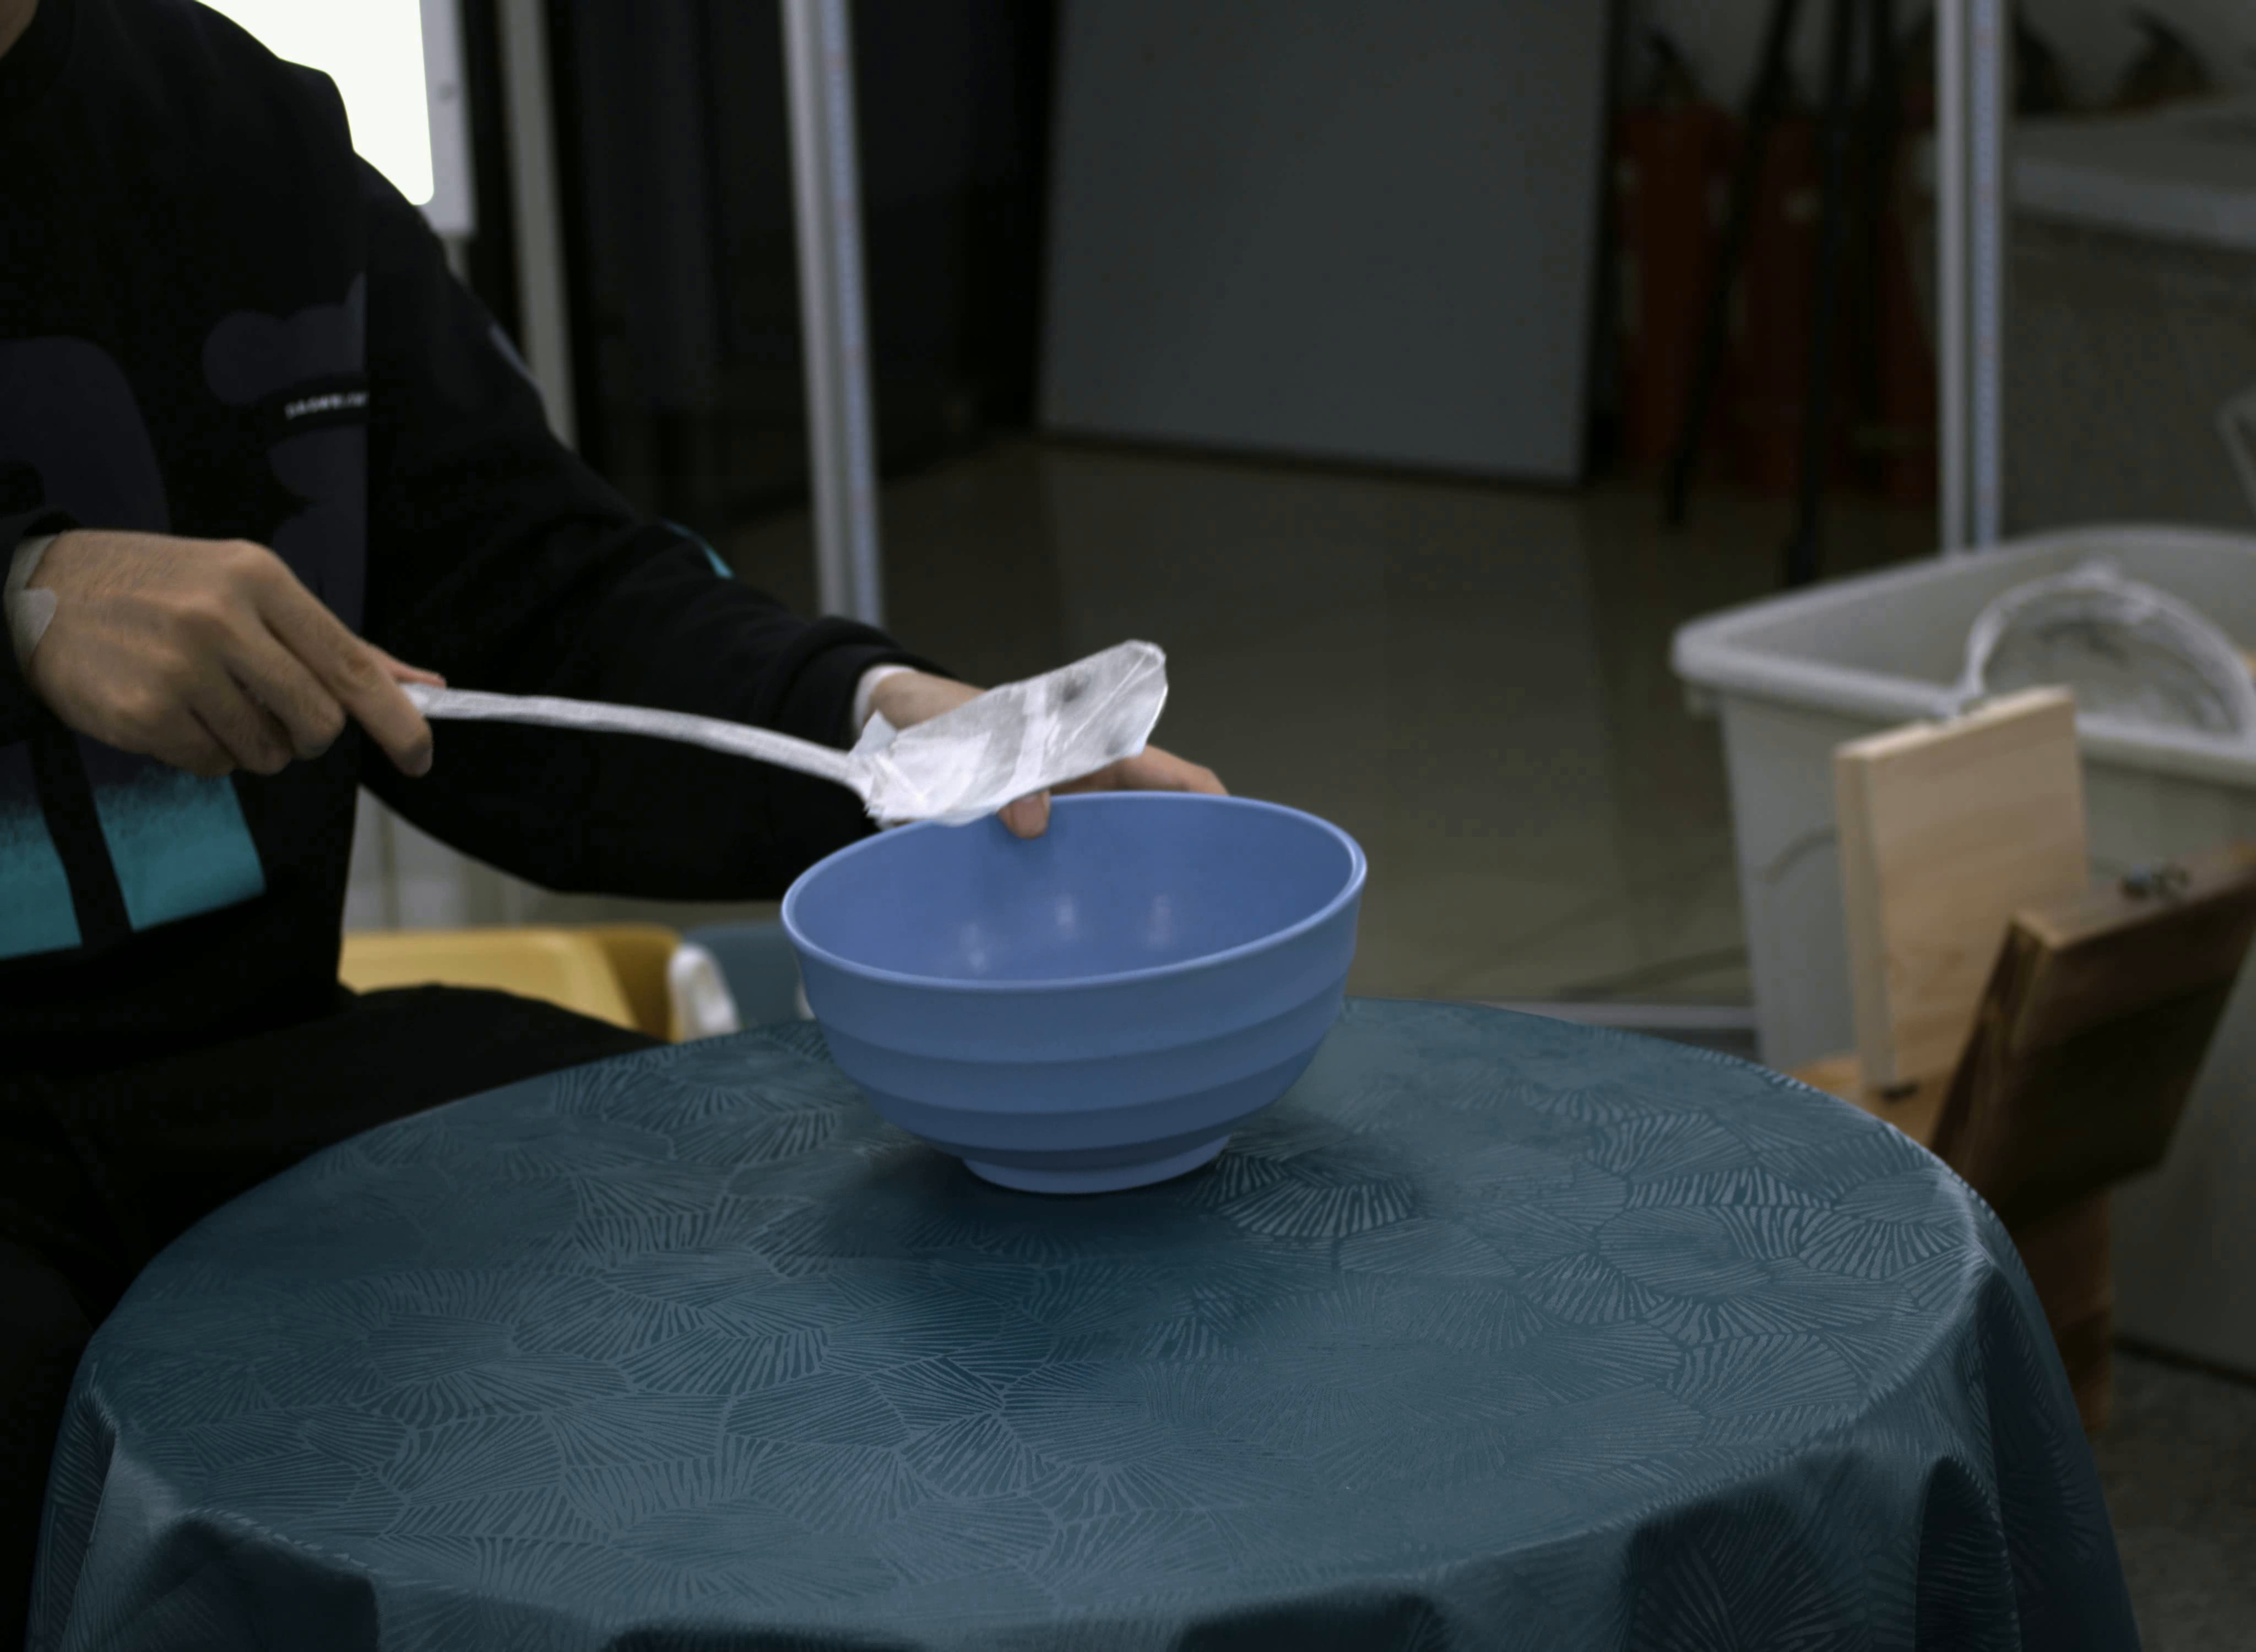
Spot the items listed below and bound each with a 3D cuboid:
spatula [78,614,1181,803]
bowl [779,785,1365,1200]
[{"bbox_3d":[-0.164,-0.044,1.723,0.361,0.045,0.098,5,28,7],"label":"spatula"},{"bbox_3d":[-0.015,0.063,1.794,0.194,0.096,0.197,-5,18,1],"label":"bowl"}]
